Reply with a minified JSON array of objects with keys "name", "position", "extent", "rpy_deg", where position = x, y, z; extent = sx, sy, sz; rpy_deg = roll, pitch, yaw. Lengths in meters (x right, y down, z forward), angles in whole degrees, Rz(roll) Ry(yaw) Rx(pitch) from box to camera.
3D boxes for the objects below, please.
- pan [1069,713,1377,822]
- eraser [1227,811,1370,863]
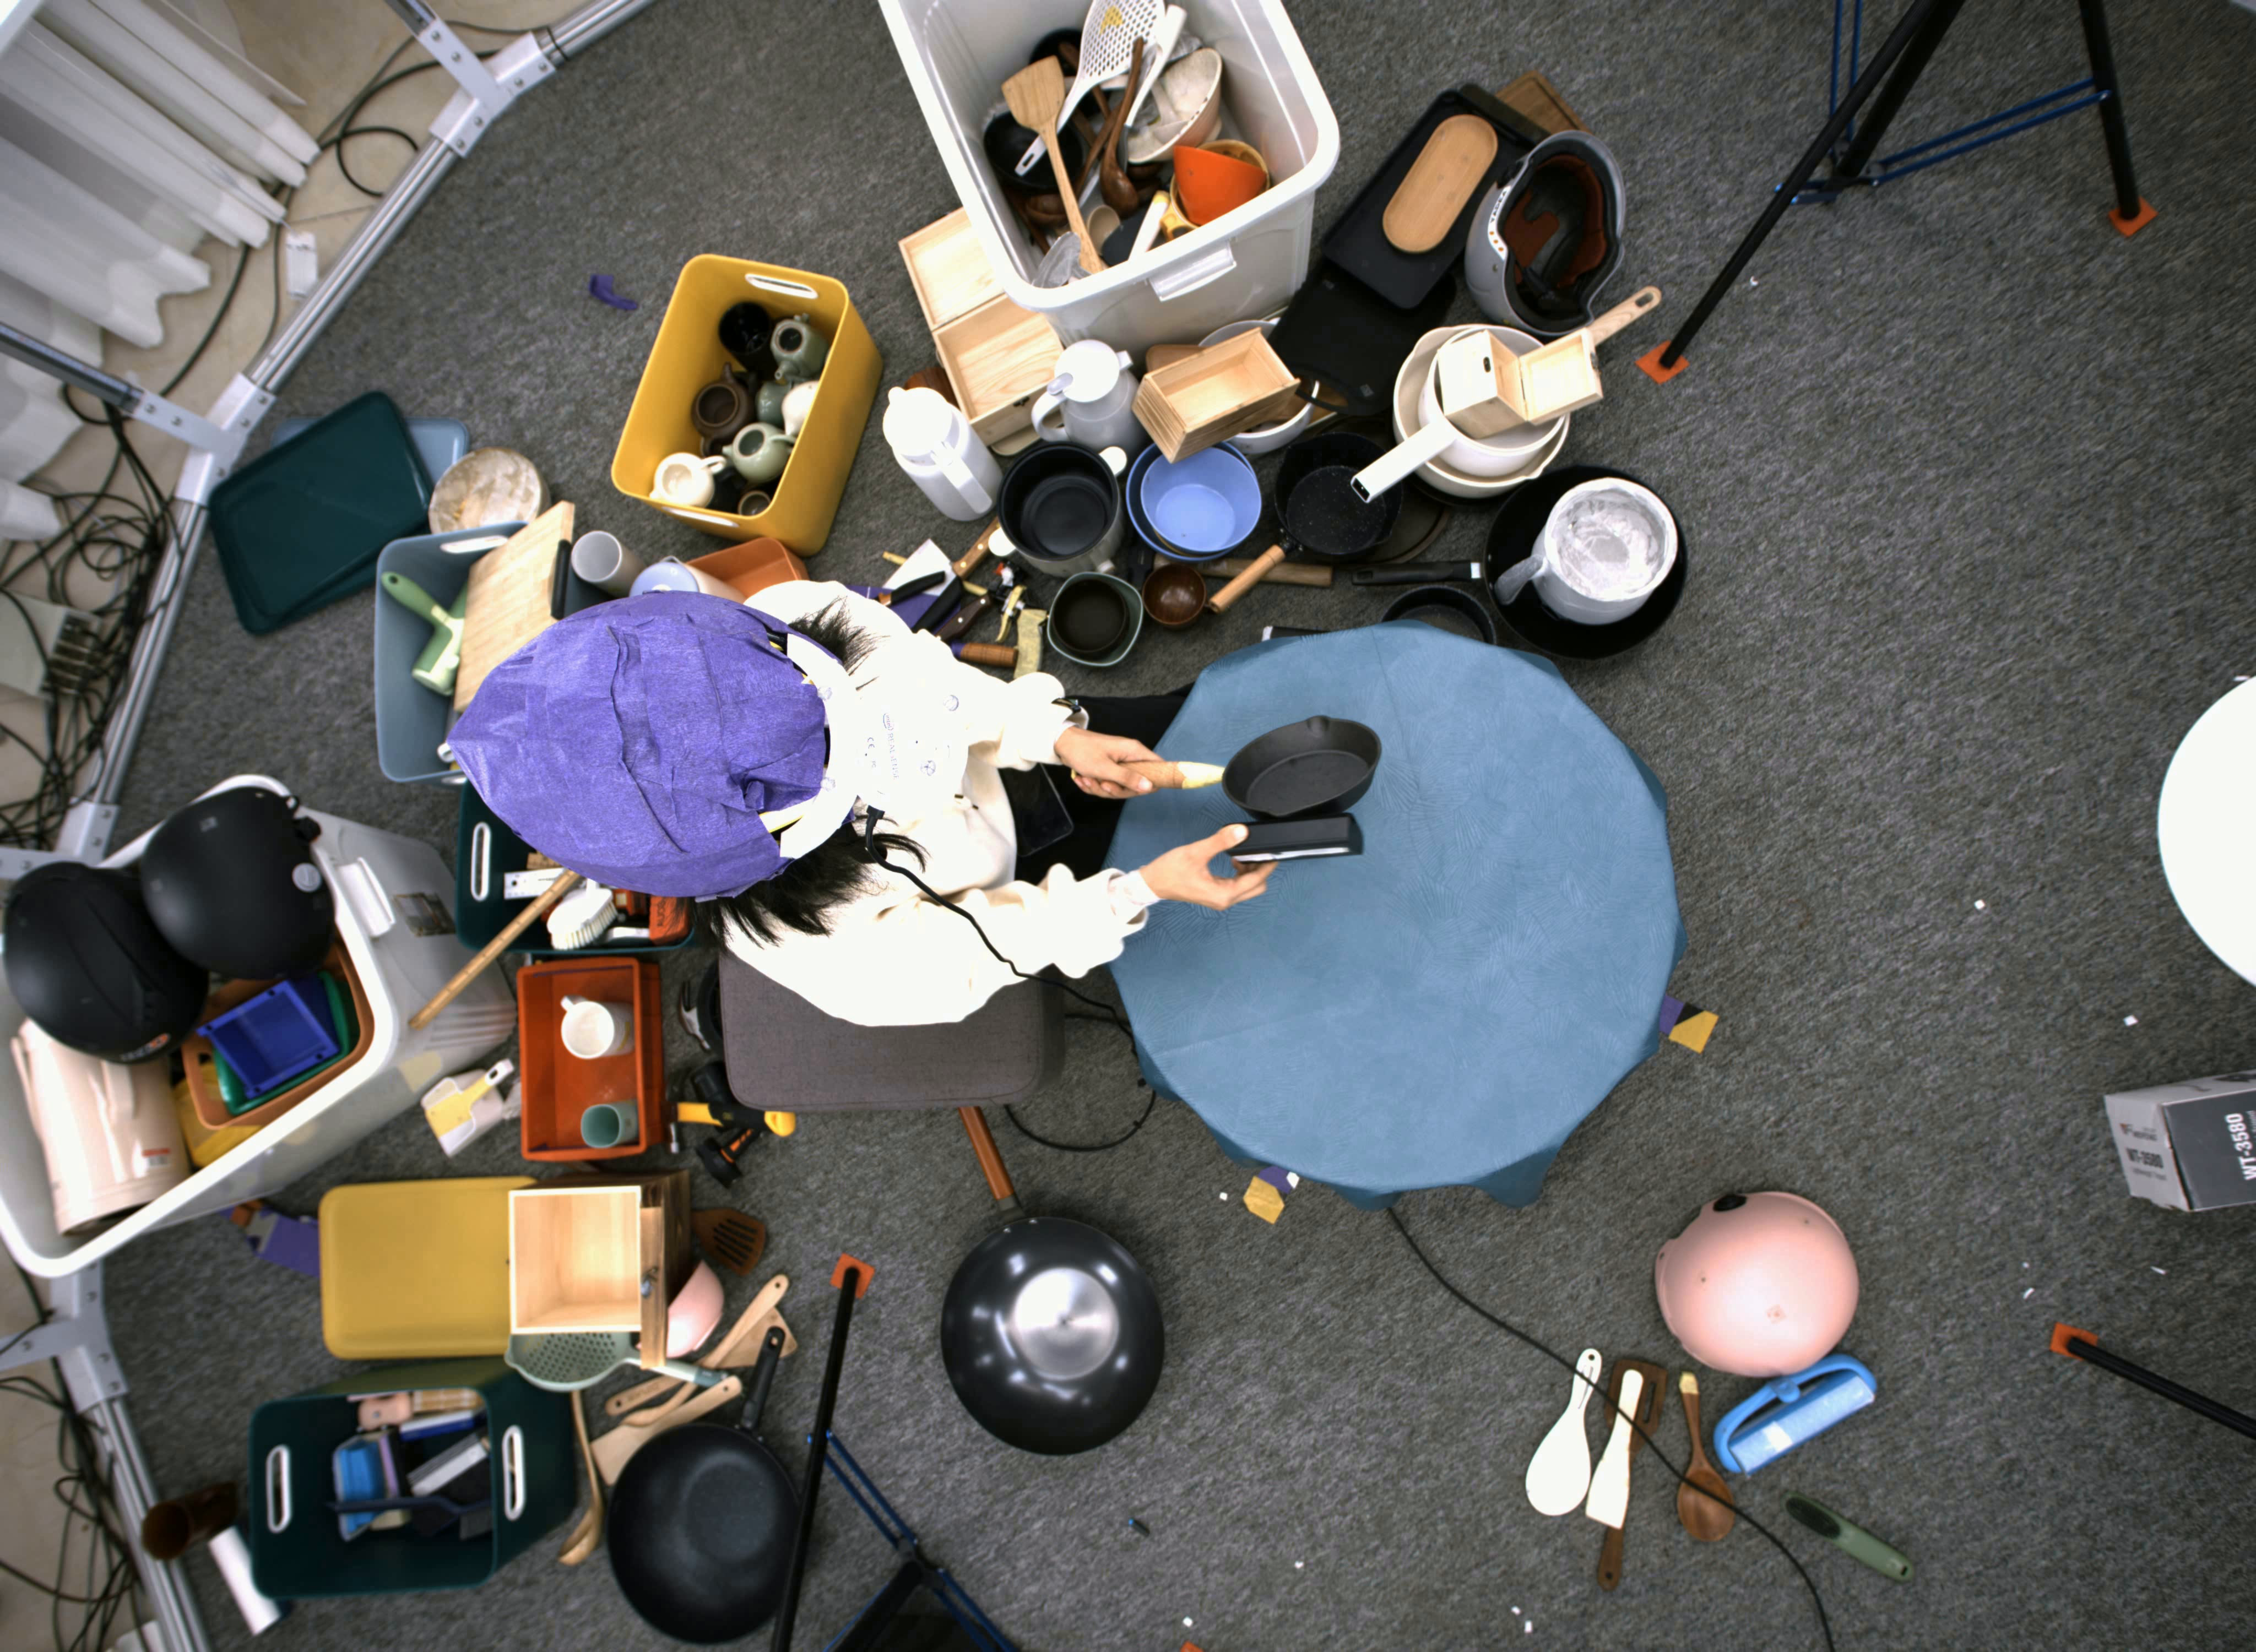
[{"name":"pan","position":[0.091,-0.053,1.372],"extent":[0.326,0.164,0.050],"rpy_deg":[-2,128,28]},{"name":"eraser","position":[0.159,0.010,1.290],"extent":[0.126,0.054,0.030],"rpy_deg":[-5,71,25]}]
